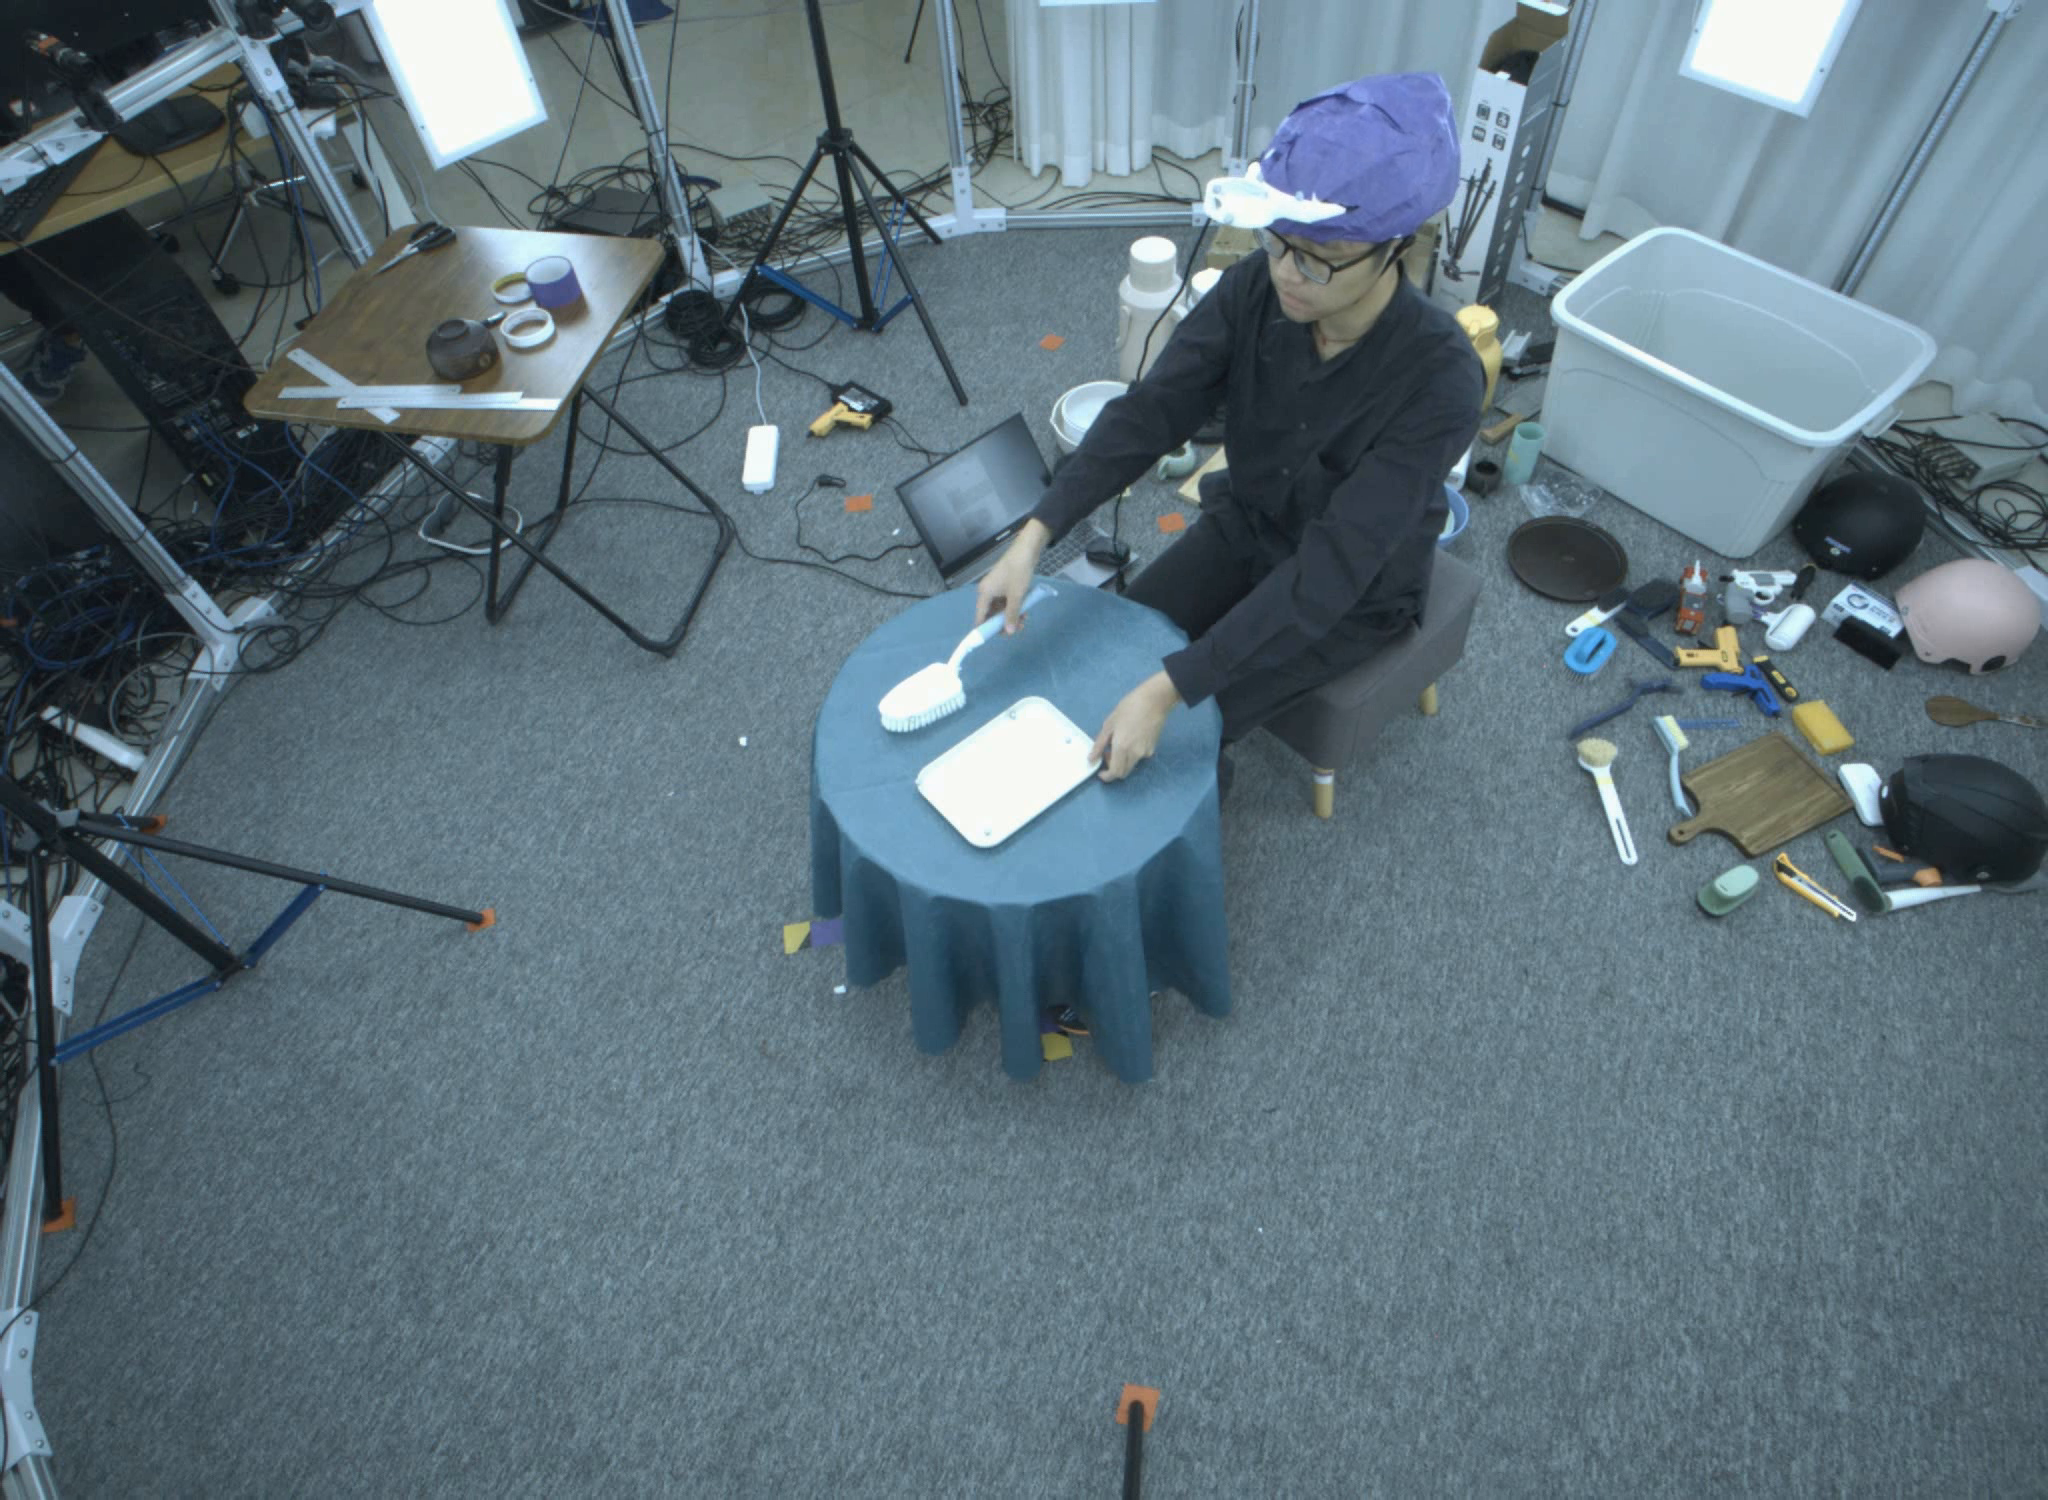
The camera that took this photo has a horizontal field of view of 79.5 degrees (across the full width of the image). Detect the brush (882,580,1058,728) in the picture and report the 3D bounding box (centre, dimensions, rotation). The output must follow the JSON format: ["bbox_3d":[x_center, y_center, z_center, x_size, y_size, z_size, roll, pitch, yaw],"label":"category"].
[{"bbox_3d":[-0.072,-0.134,1.835,0.326,0.084,0.083,-37,97,-10],"label":"brush"}]

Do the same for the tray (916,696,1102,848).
[{"bbox_3d":[-0.021,0.030,1.757,0.241,0.017,0.168,-36,61,-21],"label":"tray"}]
